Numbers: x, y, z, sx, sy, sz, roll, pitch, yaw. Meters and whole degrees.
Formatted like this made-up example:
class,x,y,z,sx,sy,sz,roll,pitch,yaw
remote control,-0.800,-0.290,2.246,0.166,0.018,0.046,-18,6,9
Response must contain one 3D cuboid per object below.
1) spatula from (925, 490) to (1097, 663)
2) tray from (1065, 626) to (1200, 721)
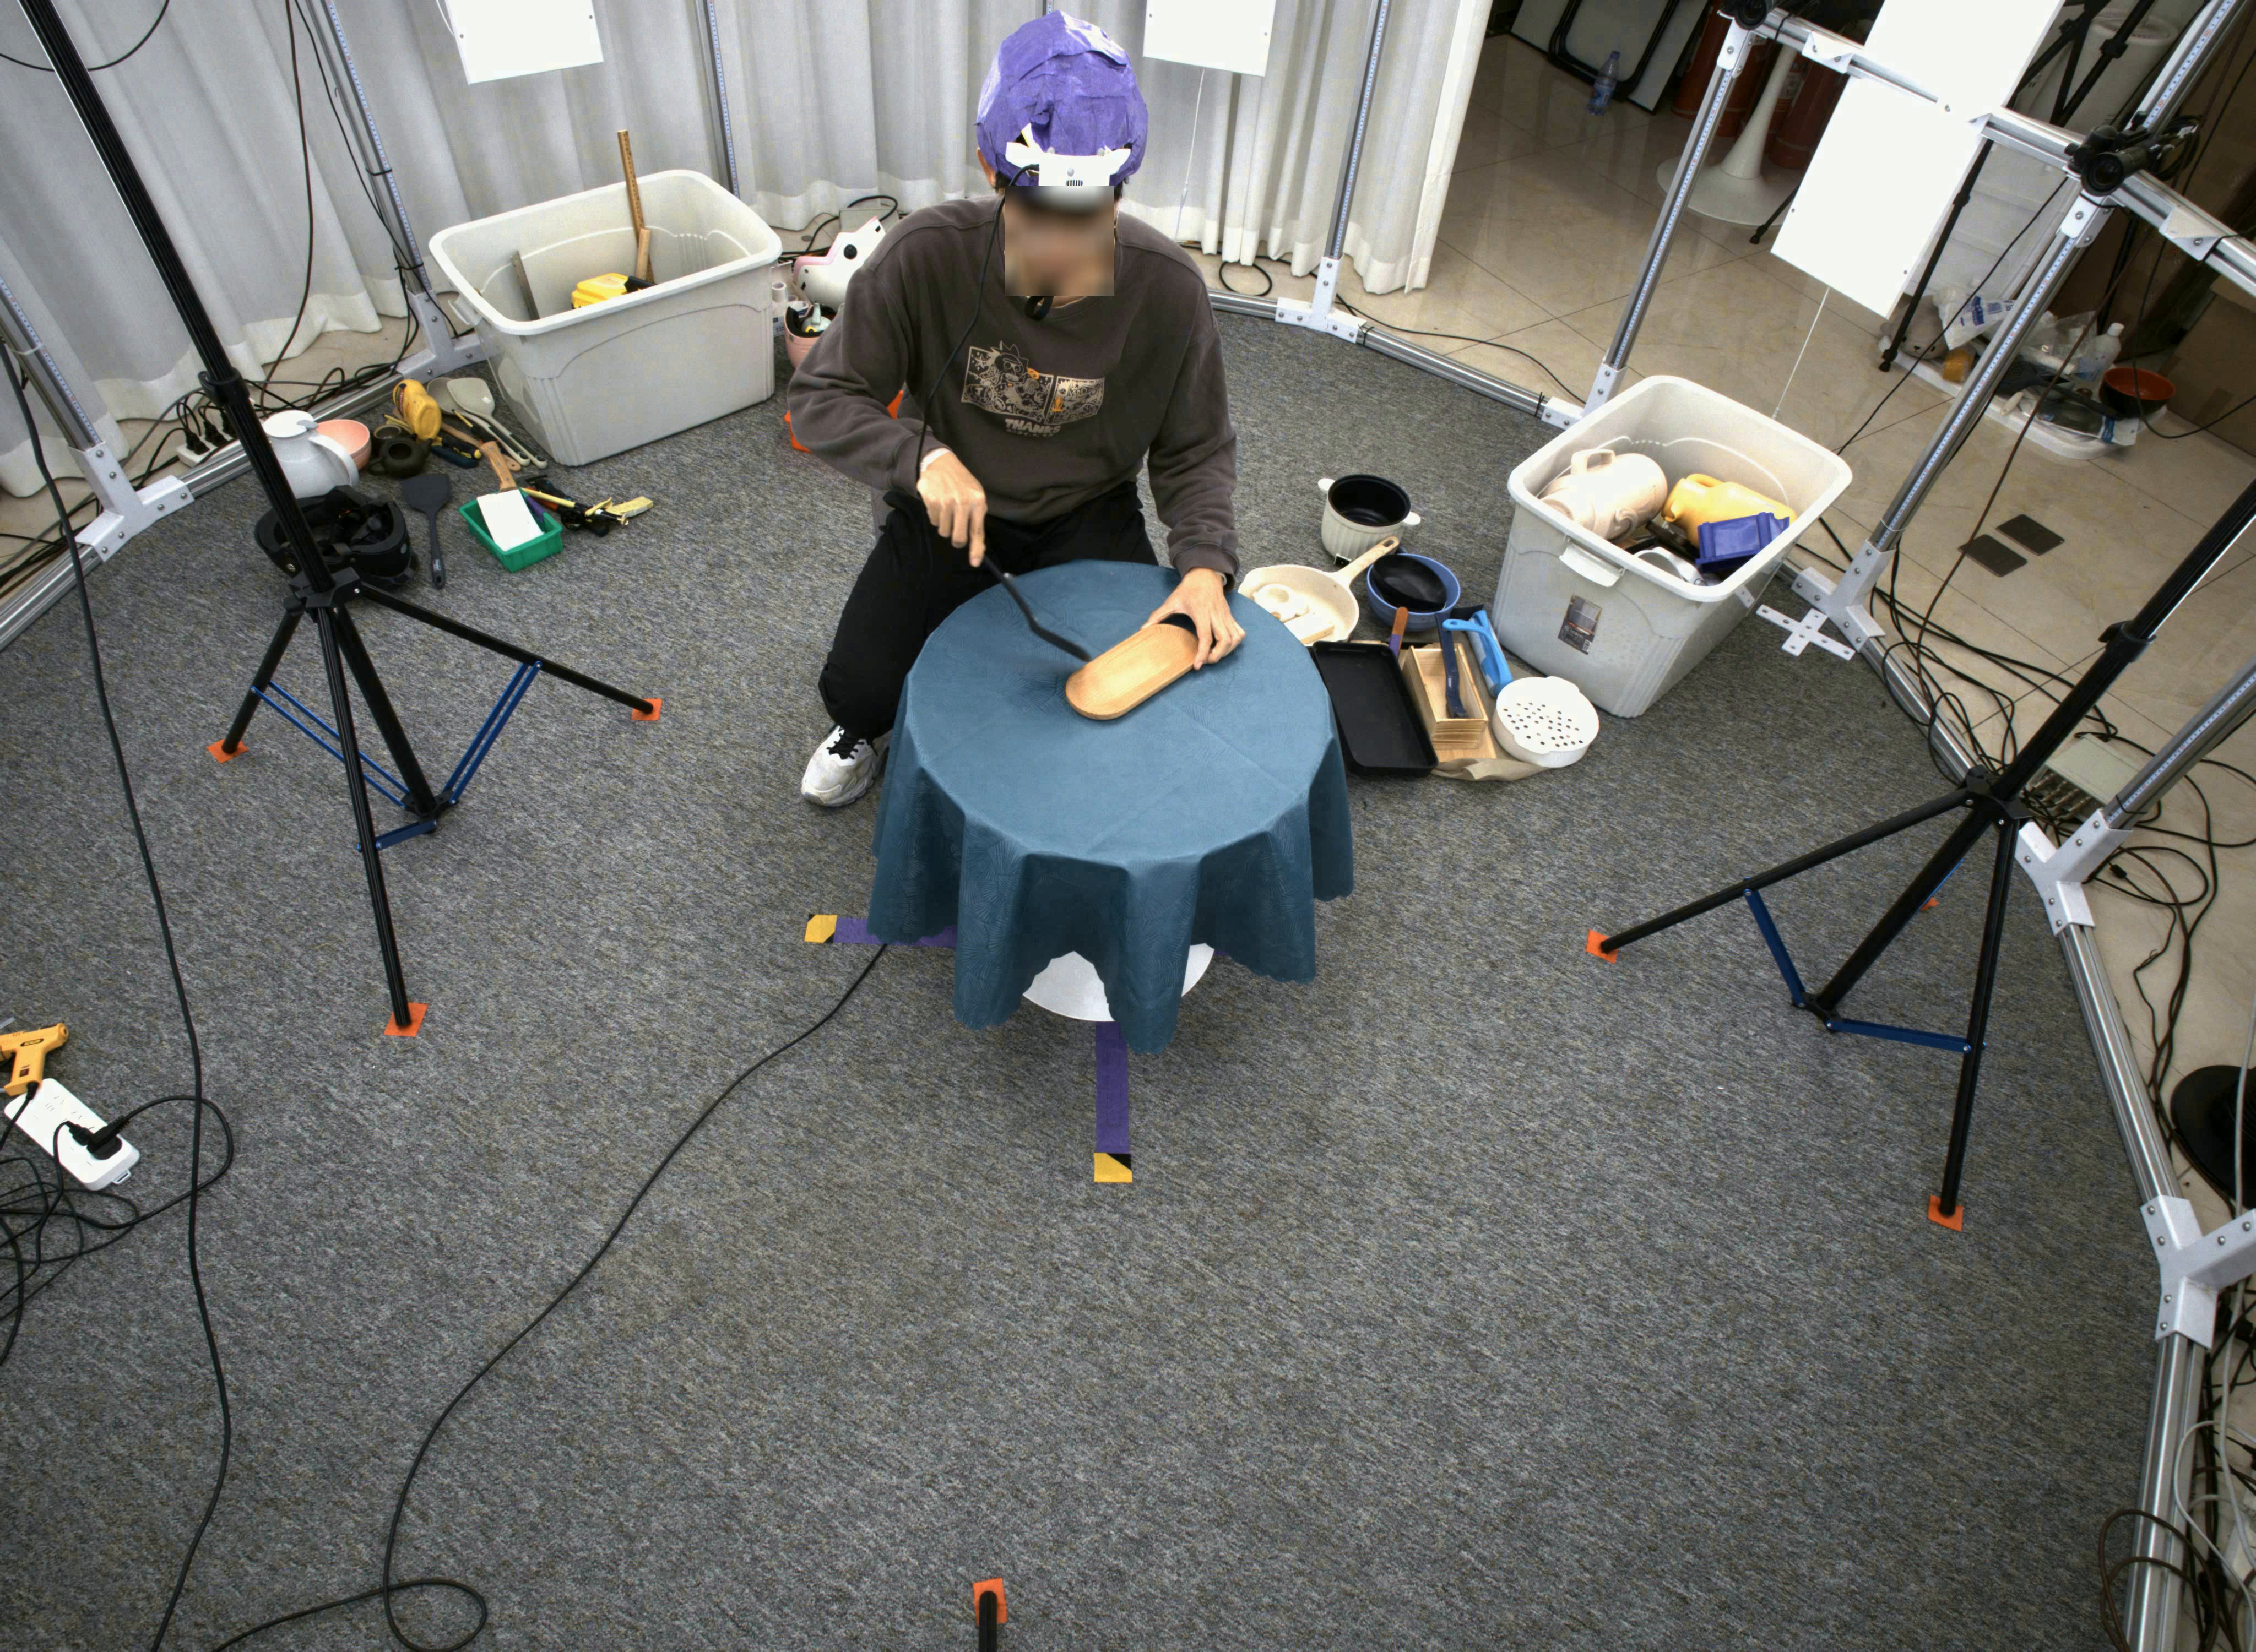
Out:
class,x,y,z,sx,sy,sz,roll,pitch,yaw
spatula,-0.162,-0.343,1.784,0.040,0.100,0.325,-40,94,-5
tray,0.008,-0.221,1.848,0.233,0.020,0.103,-36,59,-28
